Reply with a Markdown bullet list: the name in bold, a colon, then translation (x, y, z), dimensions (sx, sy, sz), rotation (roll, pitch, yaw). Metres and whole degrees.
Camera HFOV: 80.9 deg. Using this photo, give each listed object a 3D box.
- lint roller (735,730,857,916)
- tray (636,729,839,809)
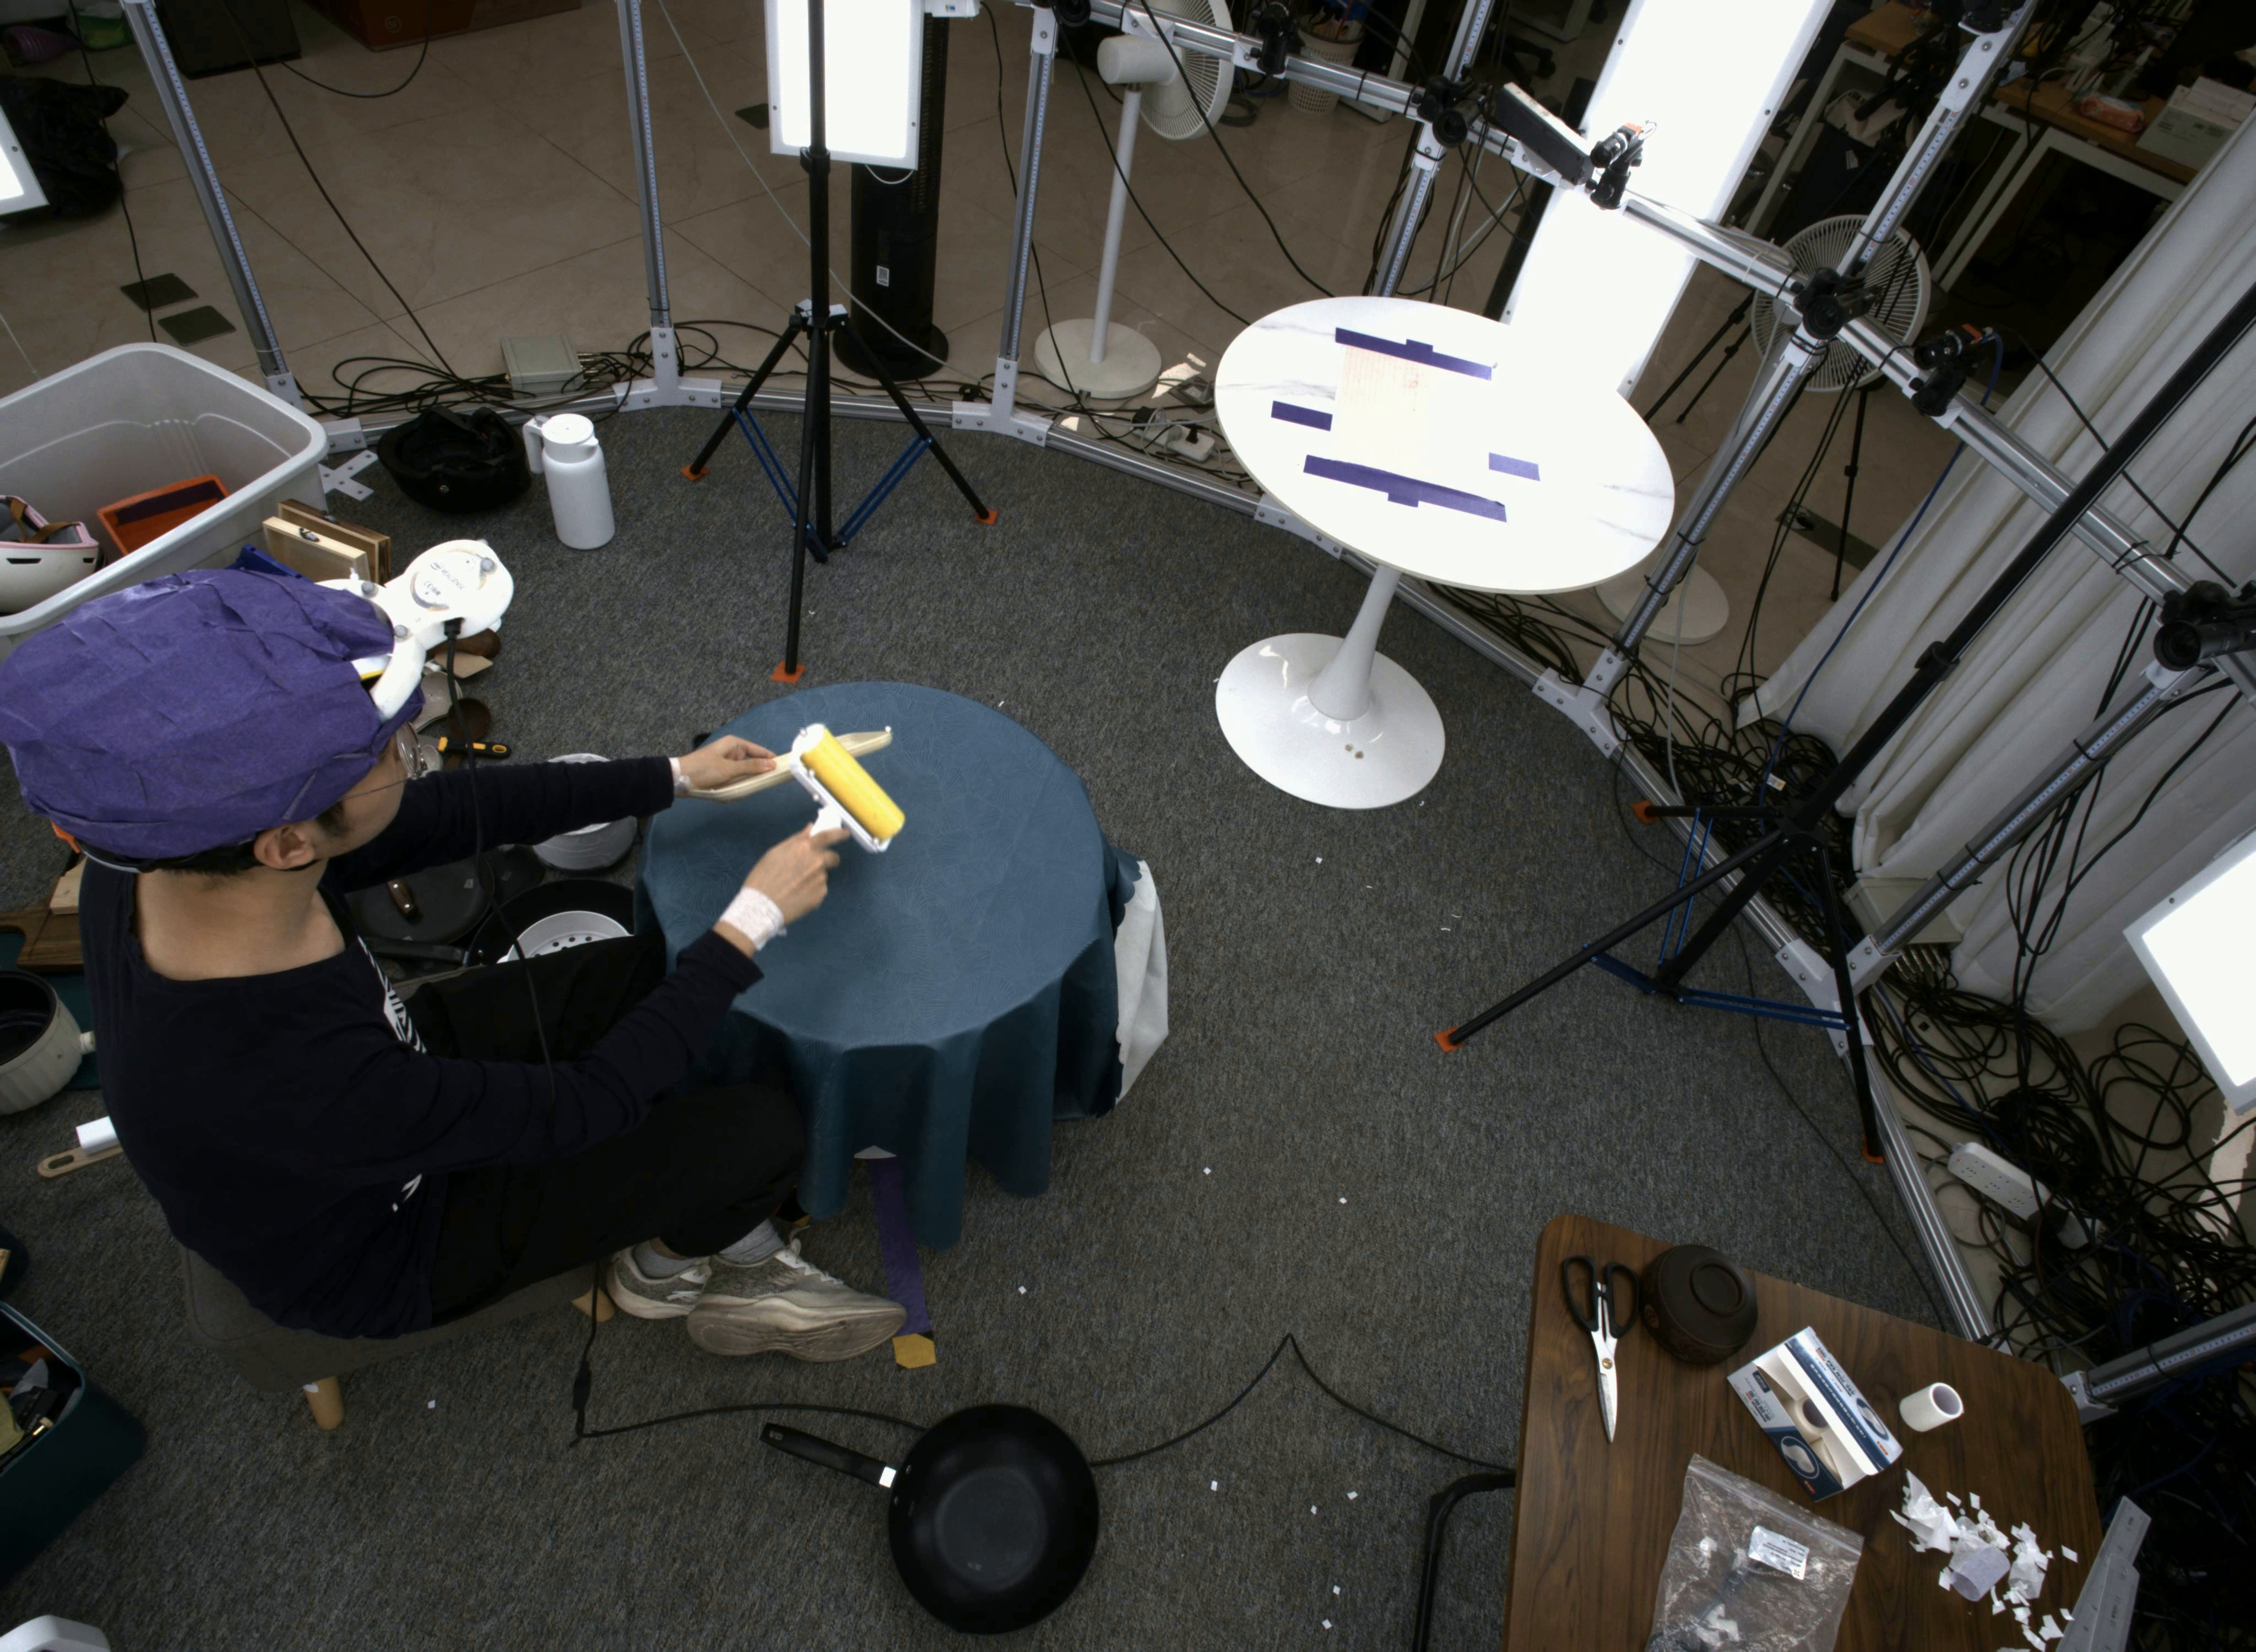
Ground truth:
- **lint roller**: translation (-0.393, 0.015, 1.474), dimensions (0.050, 0.181, 0.189), rotation (-14, 48, 25)
- **tray**: translation (-0.483, -0.070, 1.599), dimensions (0.241, 0.166, 0.018), rotation (-26, 105, -33)
